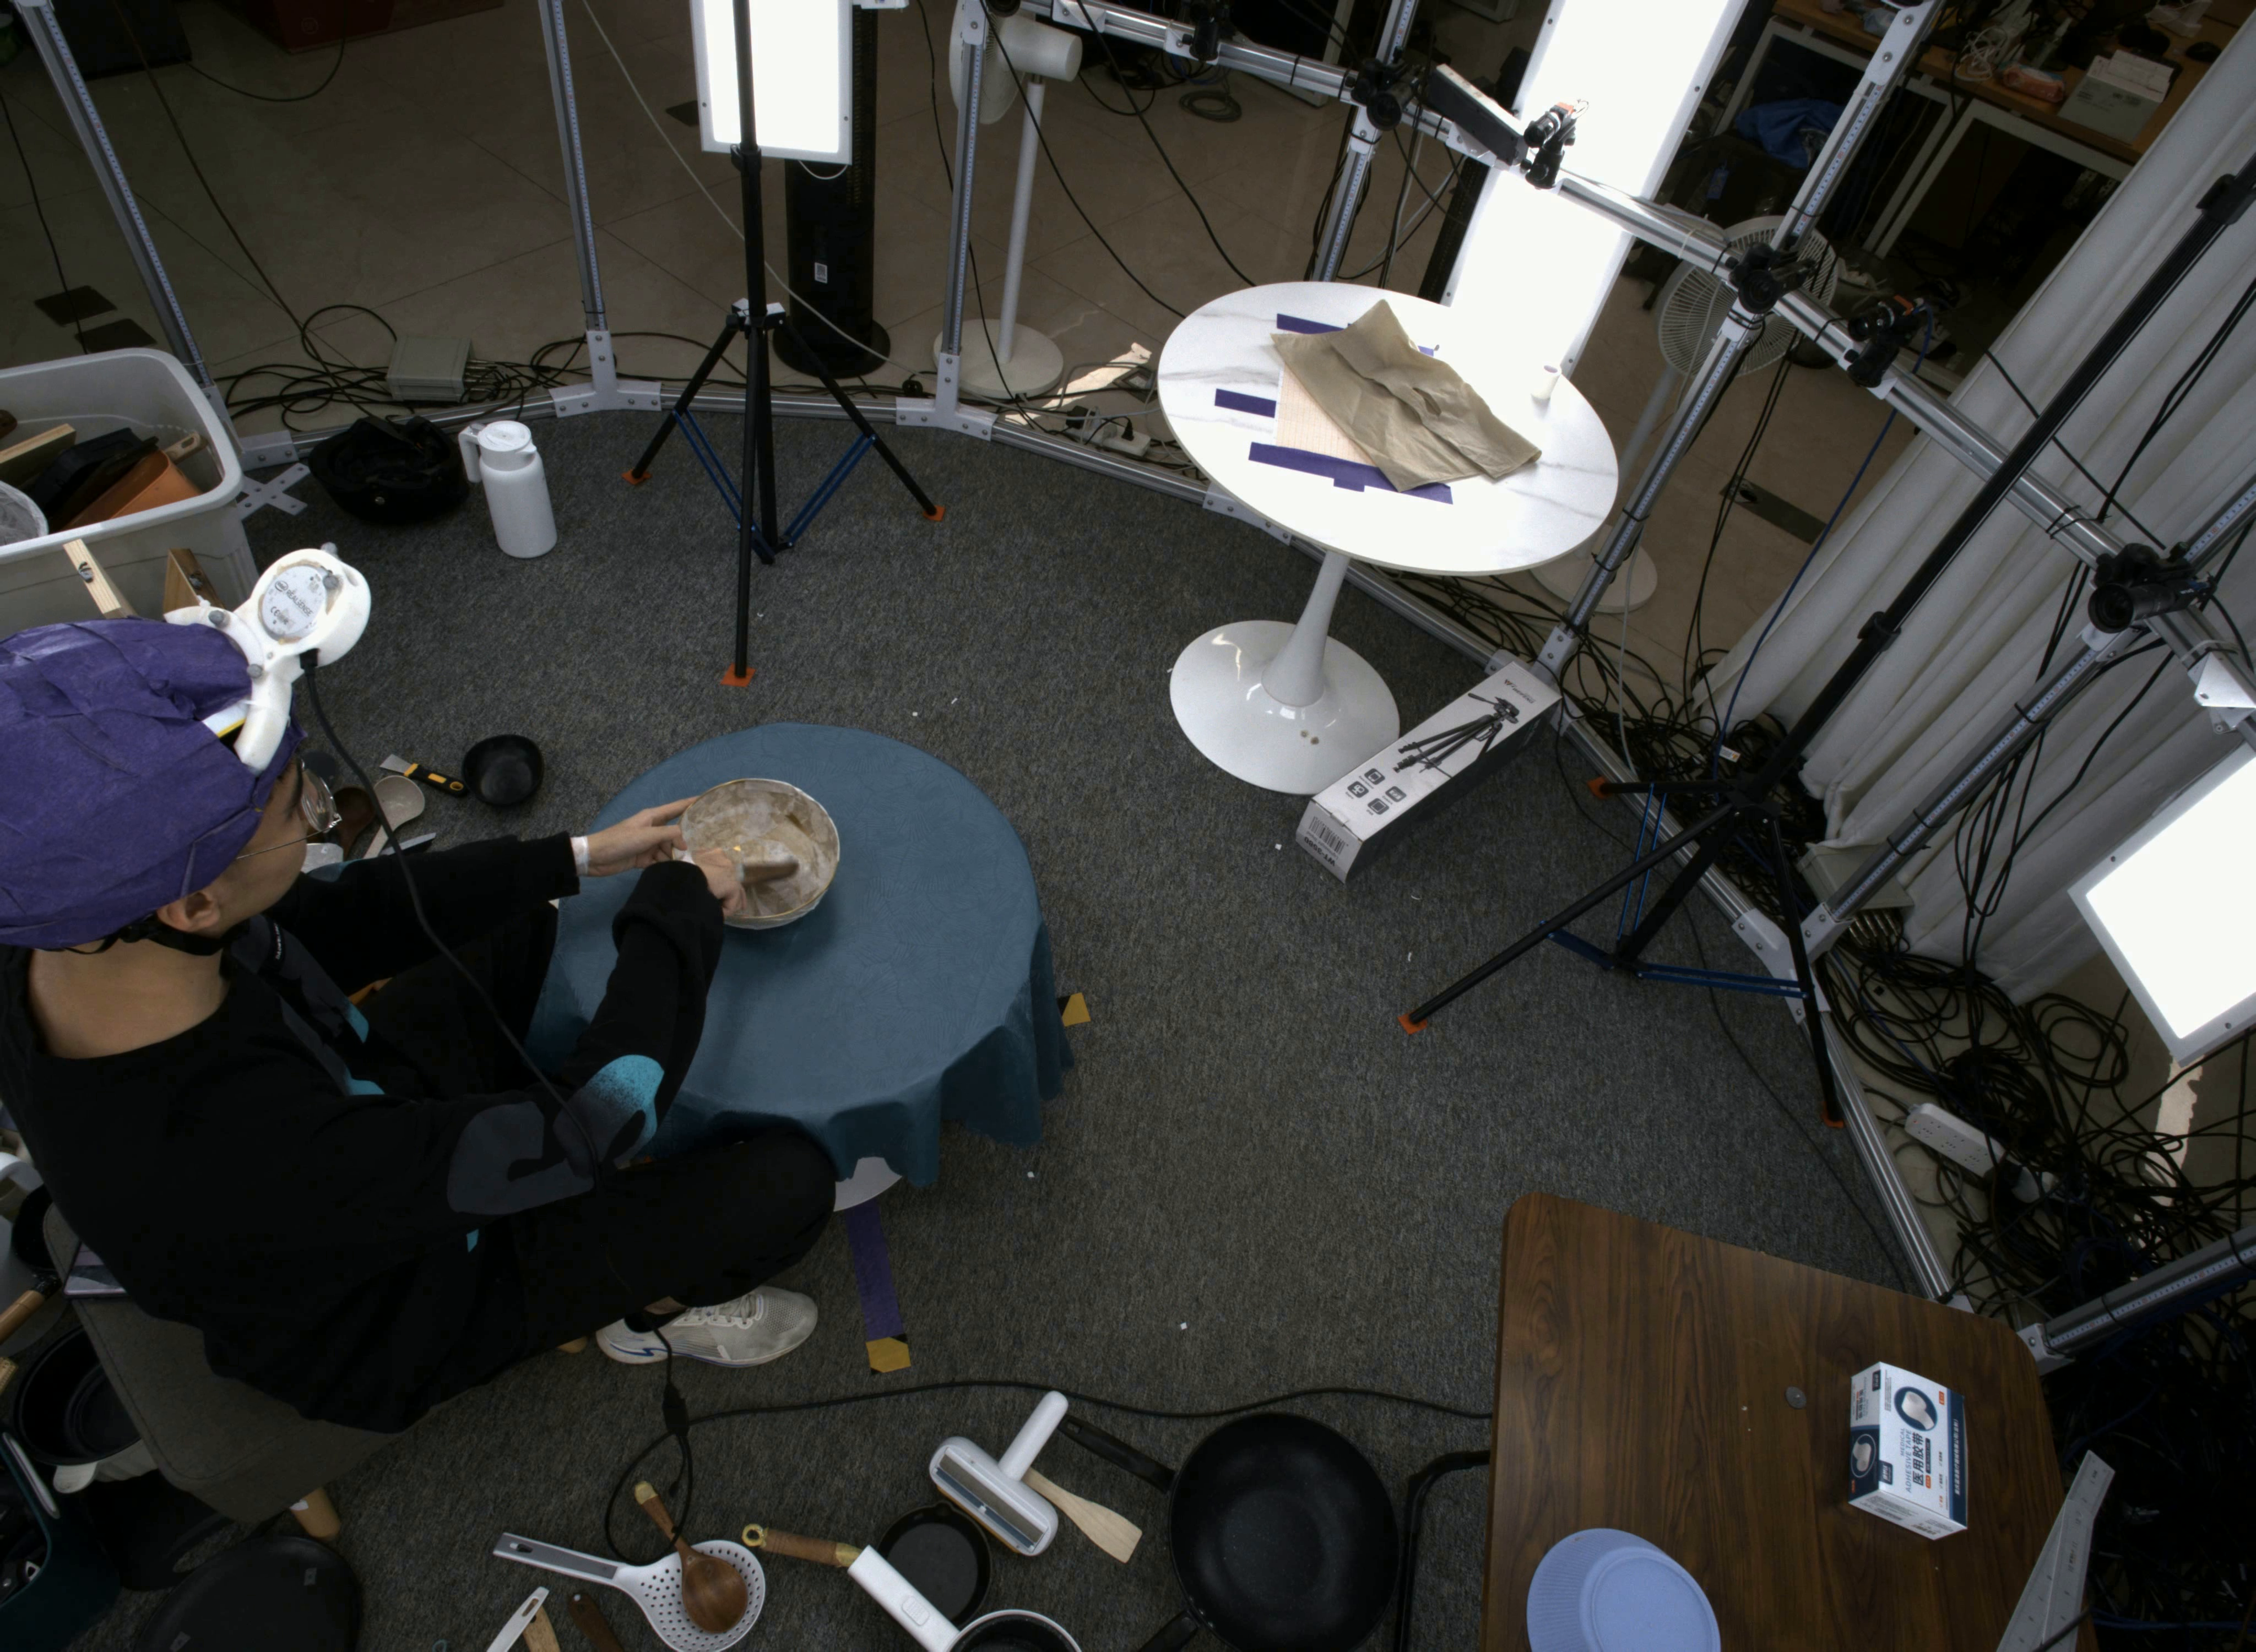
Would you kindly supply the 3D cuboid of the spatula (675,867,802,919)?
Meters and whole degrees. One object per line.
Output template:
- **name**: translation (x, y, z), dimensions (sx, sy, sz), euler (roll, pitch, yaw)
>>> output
- **spatula**: translation (-0.446, 0.070, 1.455), dimensions (0.095, 0.382, 0.016), euler (-2, 94, -3)

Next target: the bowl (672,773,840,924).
- **bowl**: translation (-0.470, 0.042, 1.607), dimensions (0.217, 0.095, 0.211), euler (17, 49, -19)
